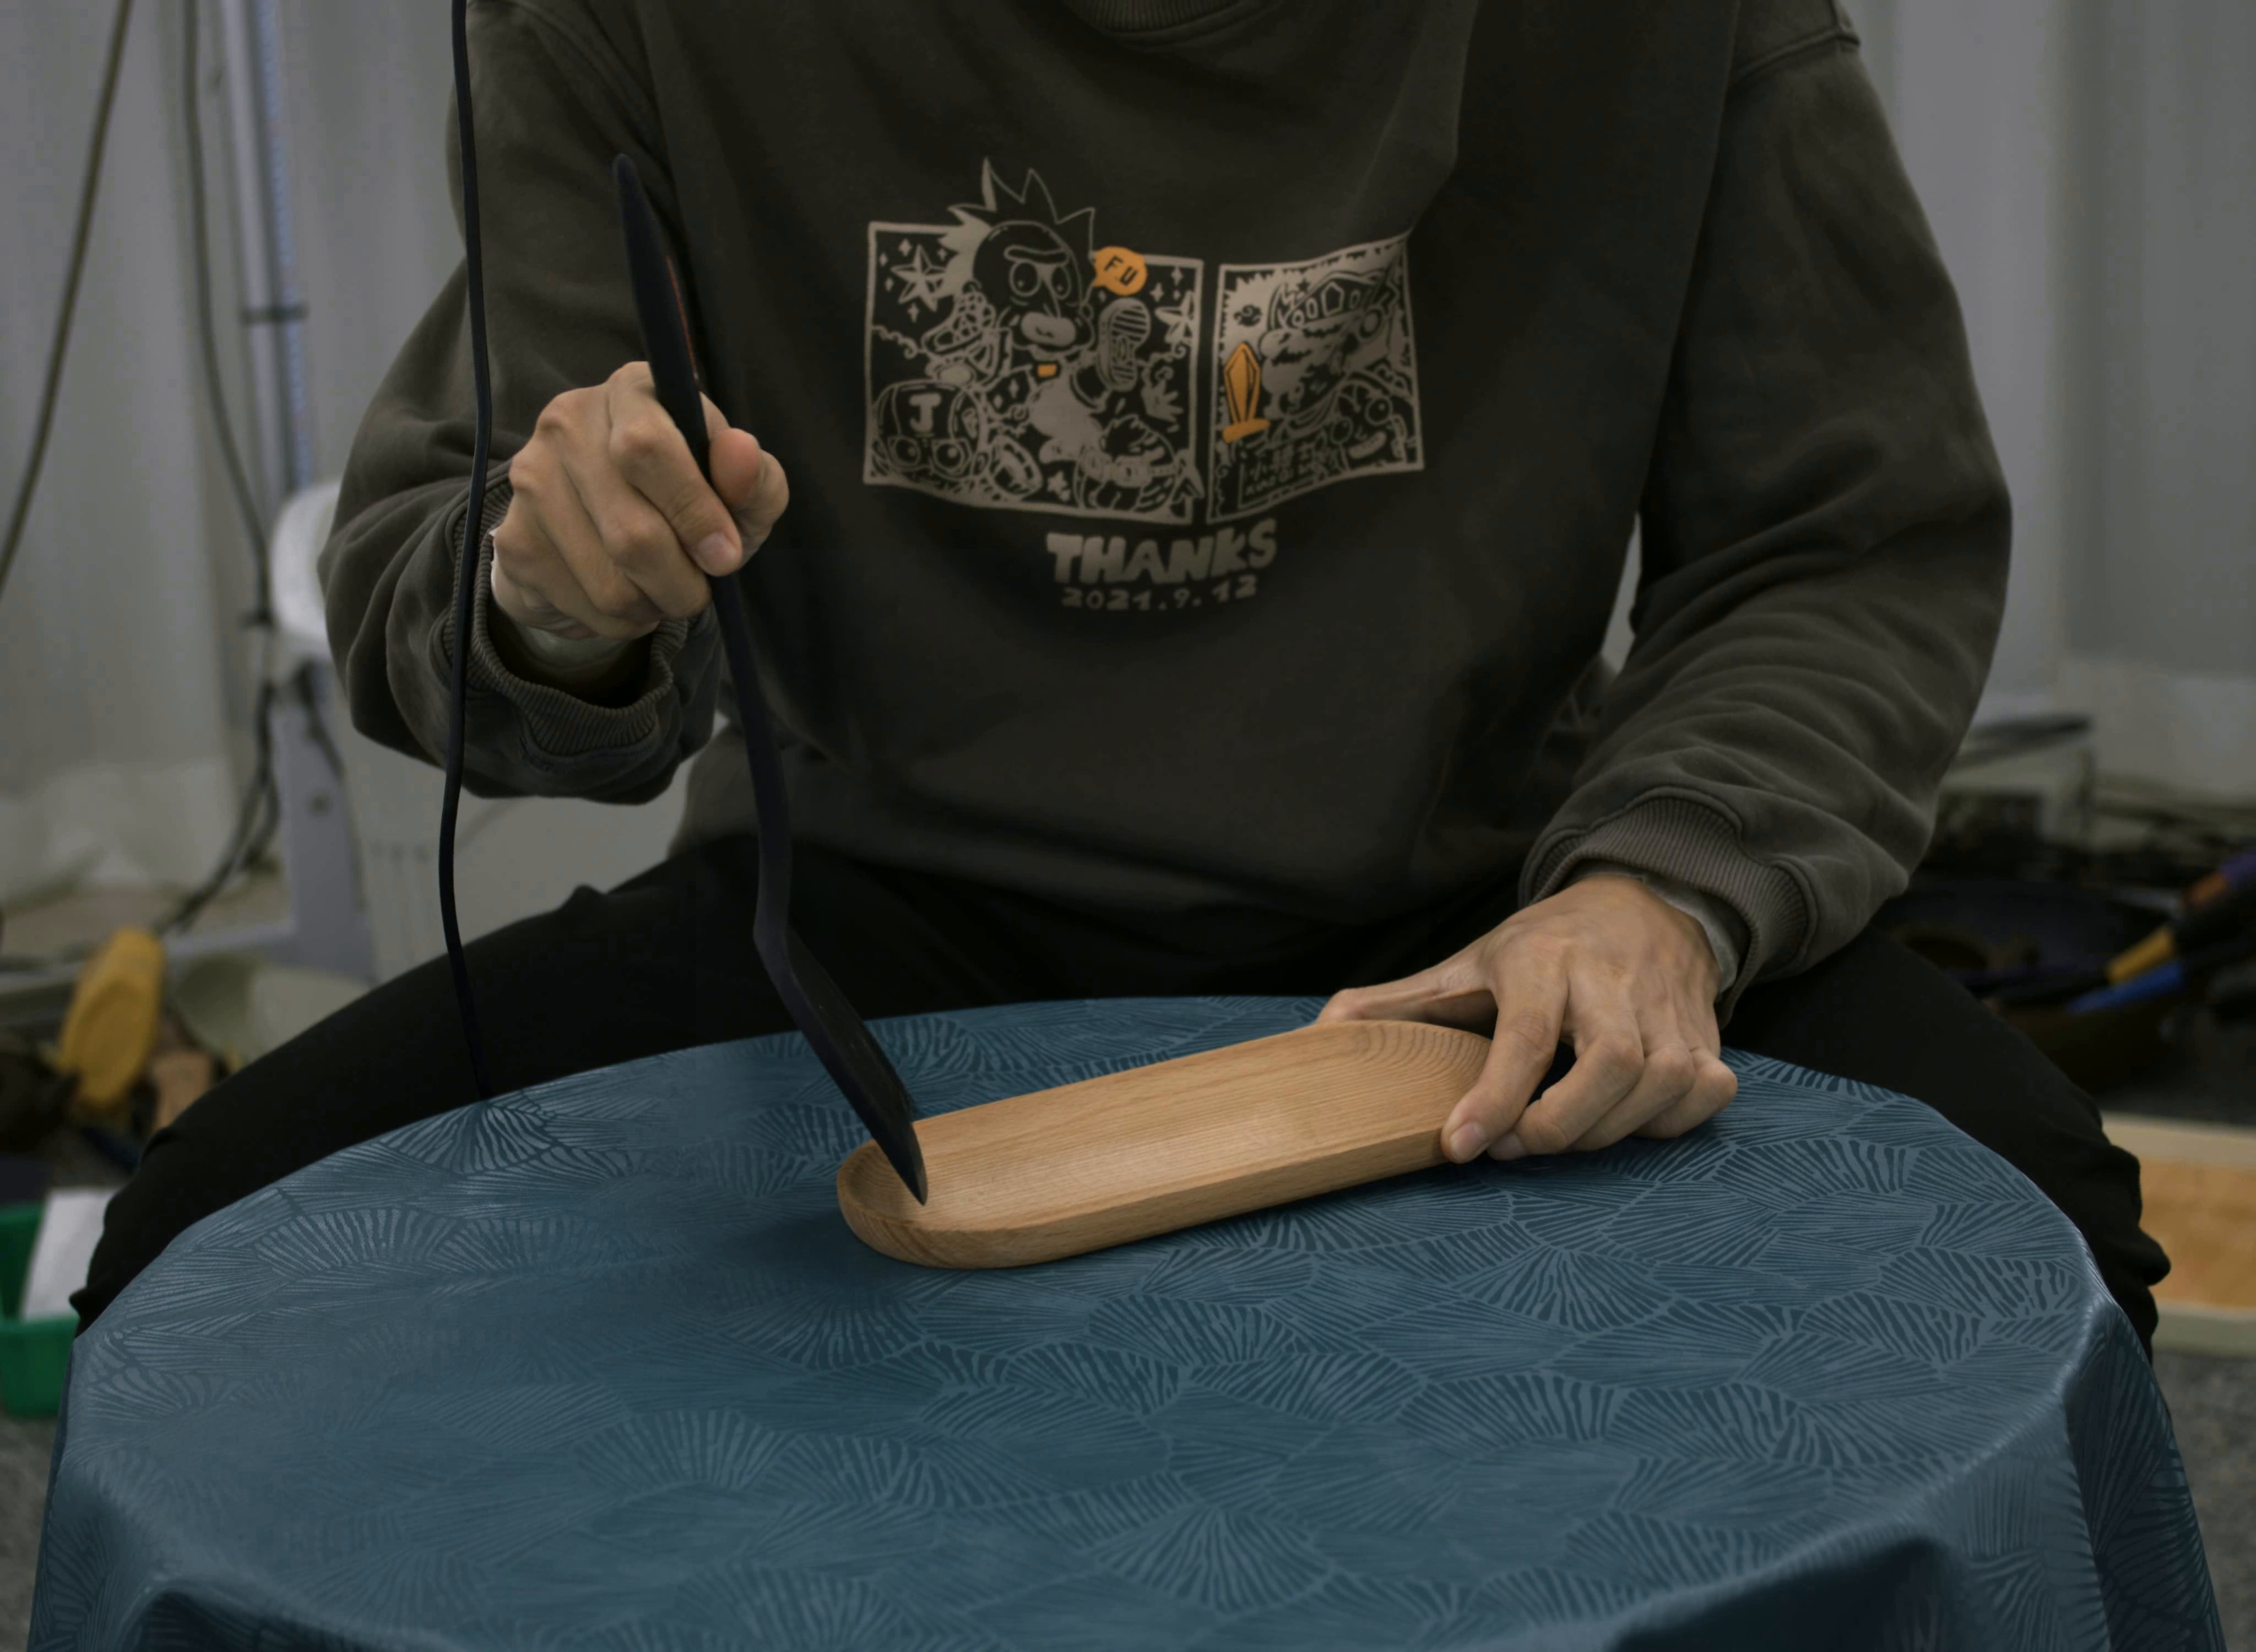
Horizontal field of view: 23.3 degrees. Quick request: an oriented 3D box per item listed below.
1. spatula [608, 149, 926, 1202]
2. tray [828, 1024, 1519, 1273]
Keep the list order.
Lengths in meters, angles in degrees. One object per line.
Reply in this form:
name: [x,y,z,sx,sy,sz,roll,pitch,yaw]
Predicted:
spatula: [-0.109,-0.045,1.648,0.040,0.325,0.100,-11,11,-4]
tray: [0.016,0.101,1.724,0.230,0.020,0.102,-13,20,-23]
